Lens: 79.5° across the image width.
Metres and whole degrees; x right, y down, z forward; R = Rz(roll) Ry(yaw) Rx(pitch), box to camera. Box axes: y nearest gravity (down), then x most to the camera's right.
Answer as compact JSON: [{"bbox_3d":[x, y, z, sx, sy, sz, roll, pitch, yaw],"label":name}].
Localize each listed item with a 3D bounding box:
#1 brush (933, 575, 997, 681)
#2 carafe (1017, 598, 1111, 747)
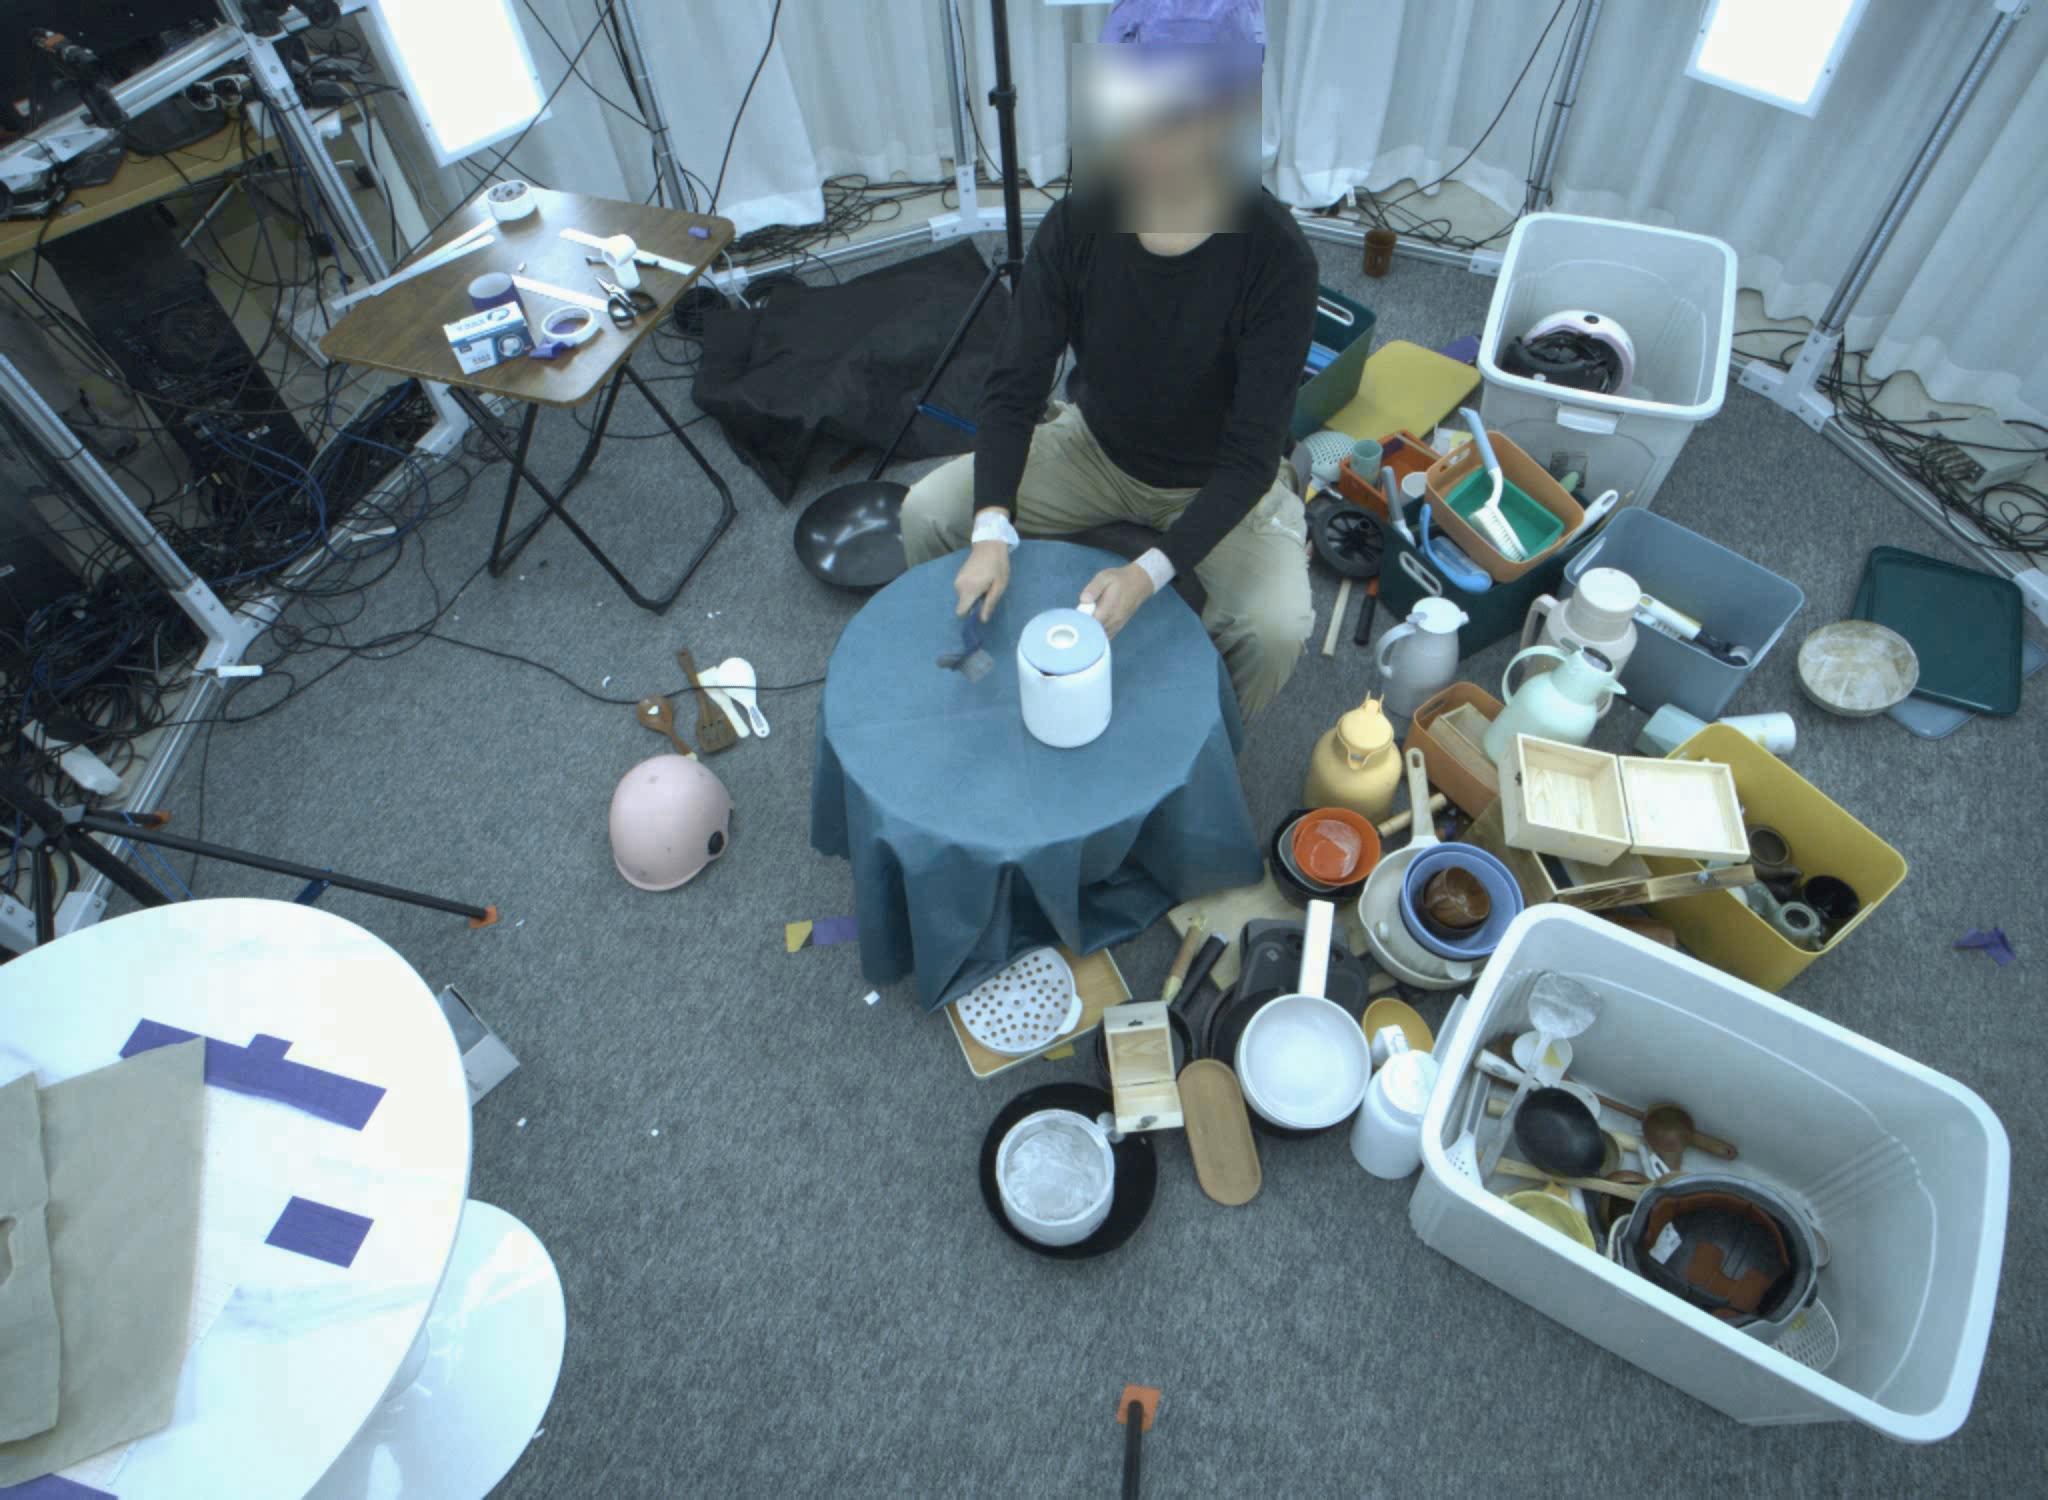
[{"bbox_3d":[-0.080,-0.189,1.796,0.097,0.033,0.270,26,34,-20],"label":"brush"},{"bbox_3d":[0.067,-0.121,1.765,0.131,0.184,0.191,15,56,13],"label":"carafe"}]
